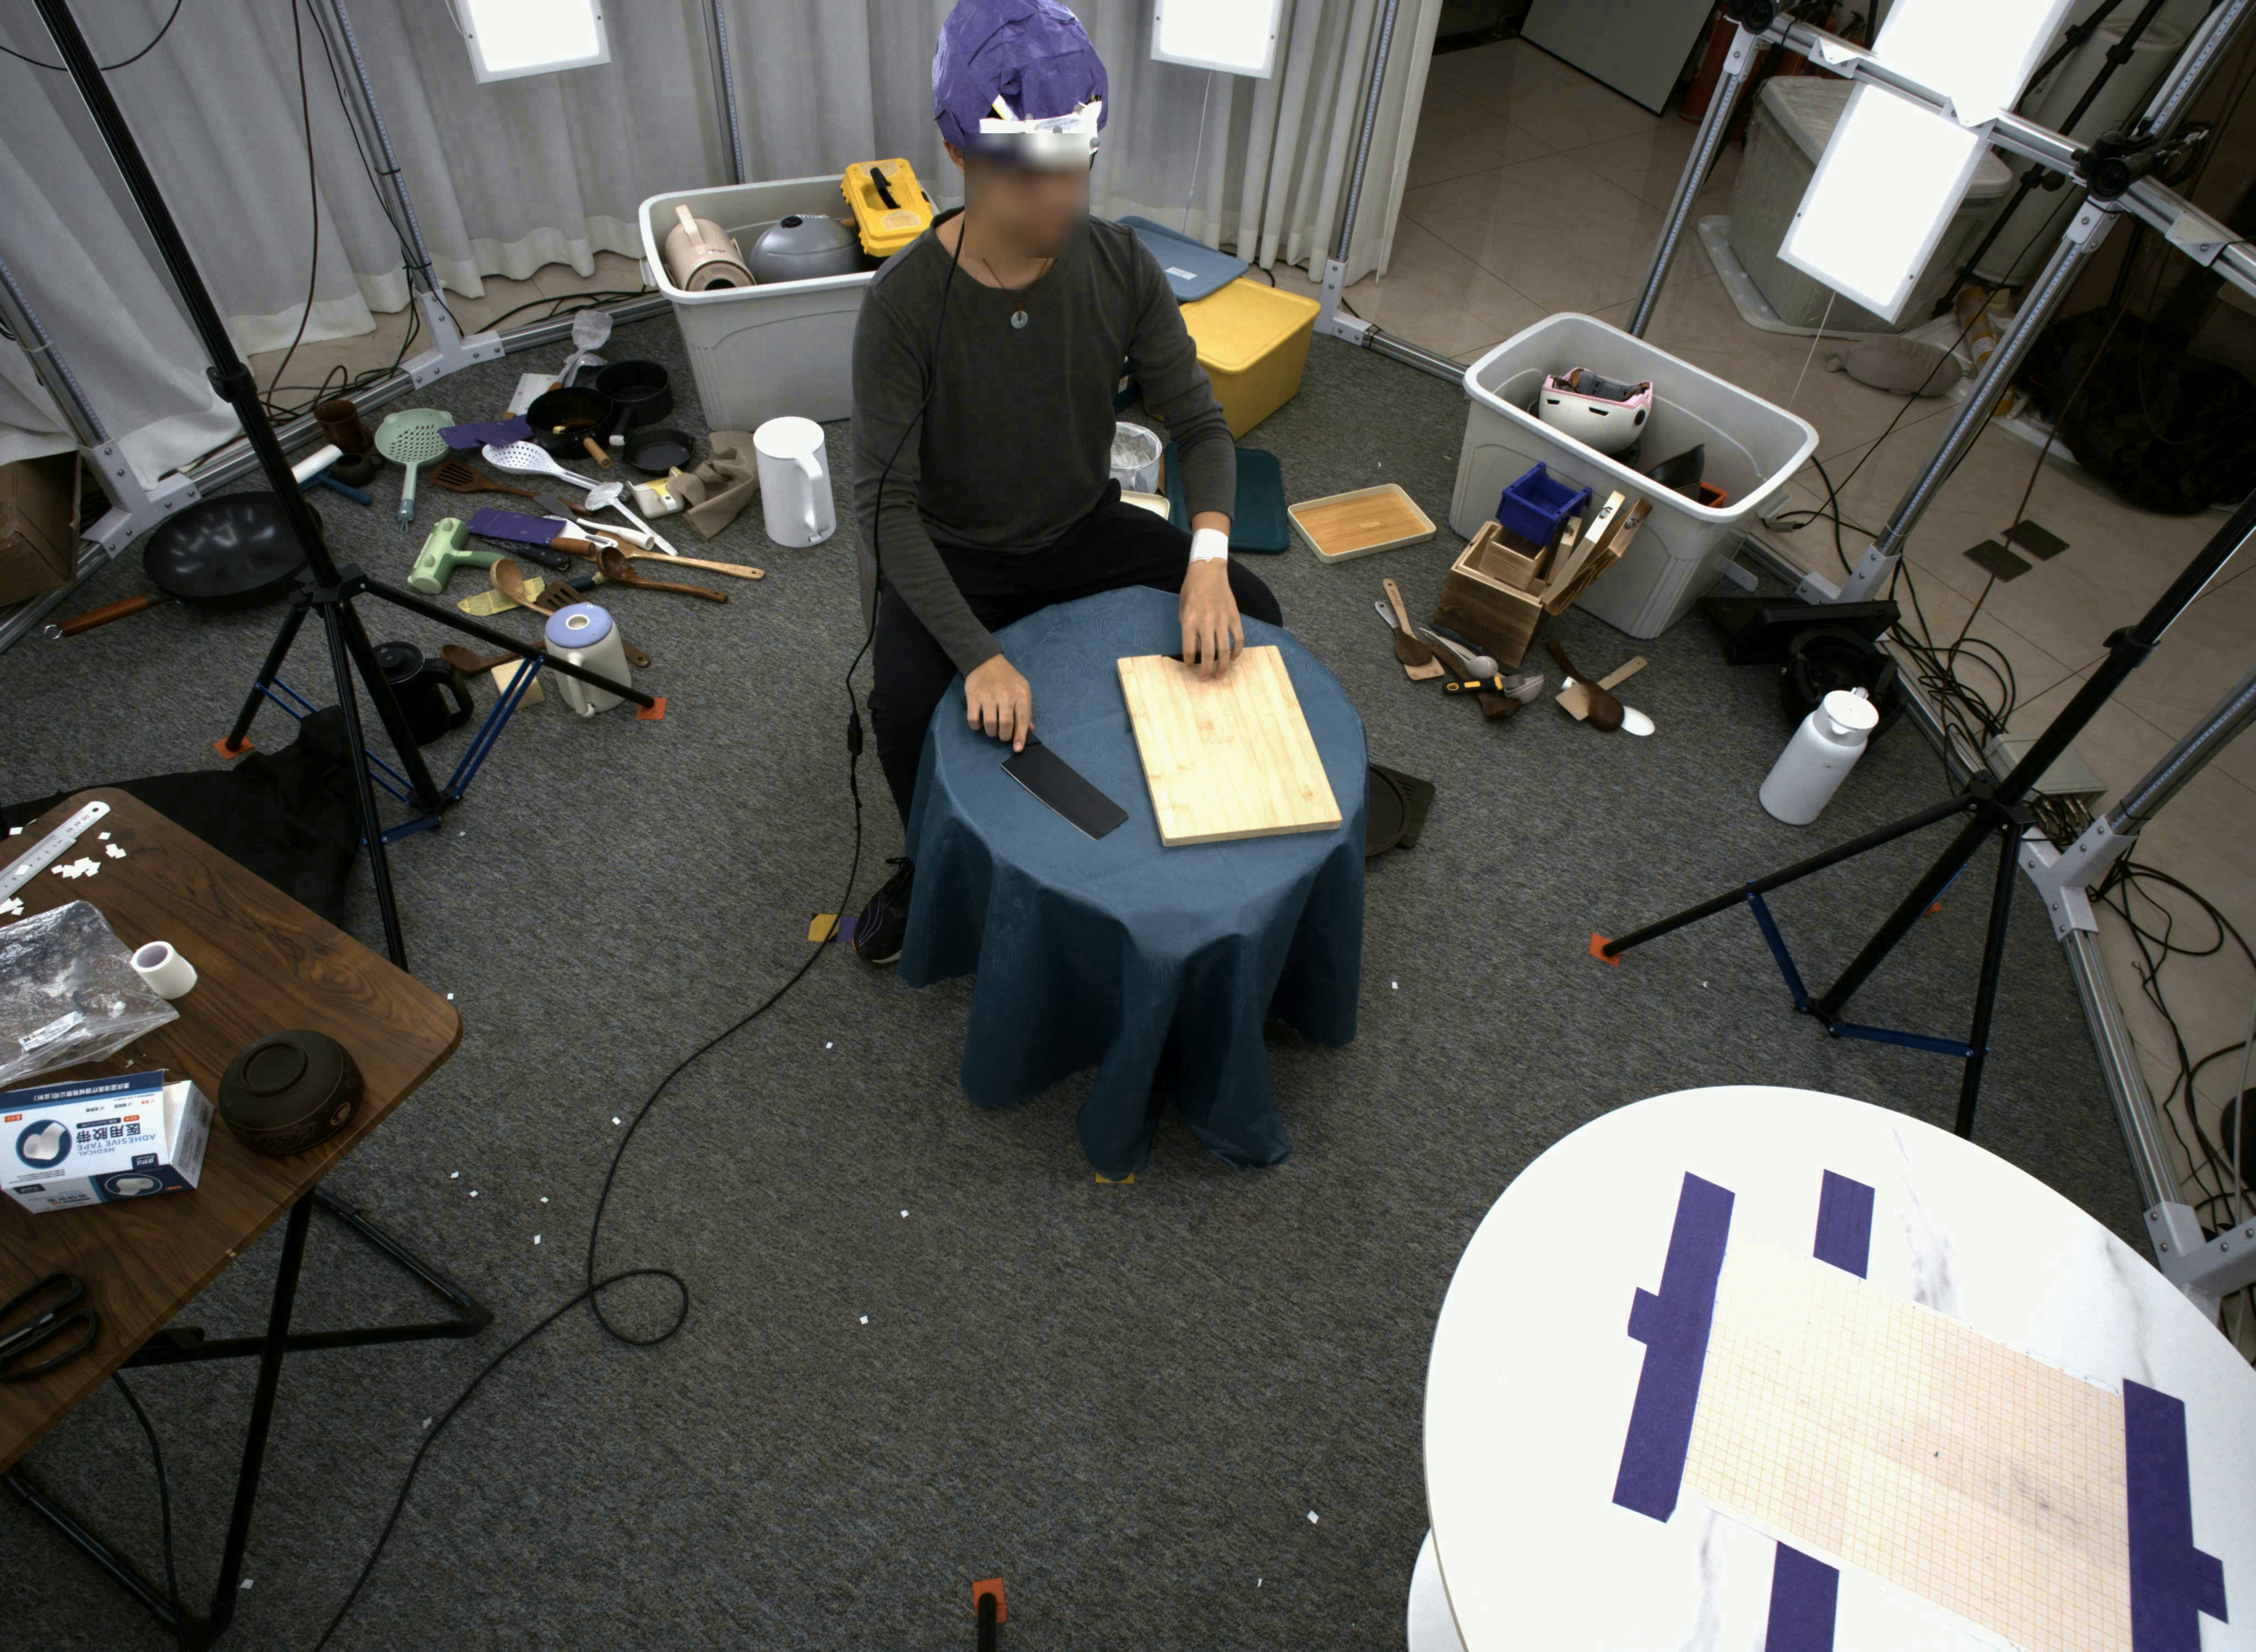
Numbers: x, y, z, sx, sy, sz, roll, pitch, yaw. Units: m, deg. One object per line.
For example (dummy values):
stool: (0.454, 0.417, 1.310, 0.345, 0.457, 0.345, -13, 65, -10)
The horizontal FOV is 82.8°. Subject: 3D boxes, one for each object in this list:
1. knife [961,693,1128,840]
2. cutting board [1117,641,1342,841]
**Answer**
knife: (-0.123, -0.085, 1.724, 0.081, 0.020, 0.307, -33, 60, -24)
cutting board: (0.132, -0.124, 1.773, 0.250, 0.023, 0.357, -6, 50, -10)
